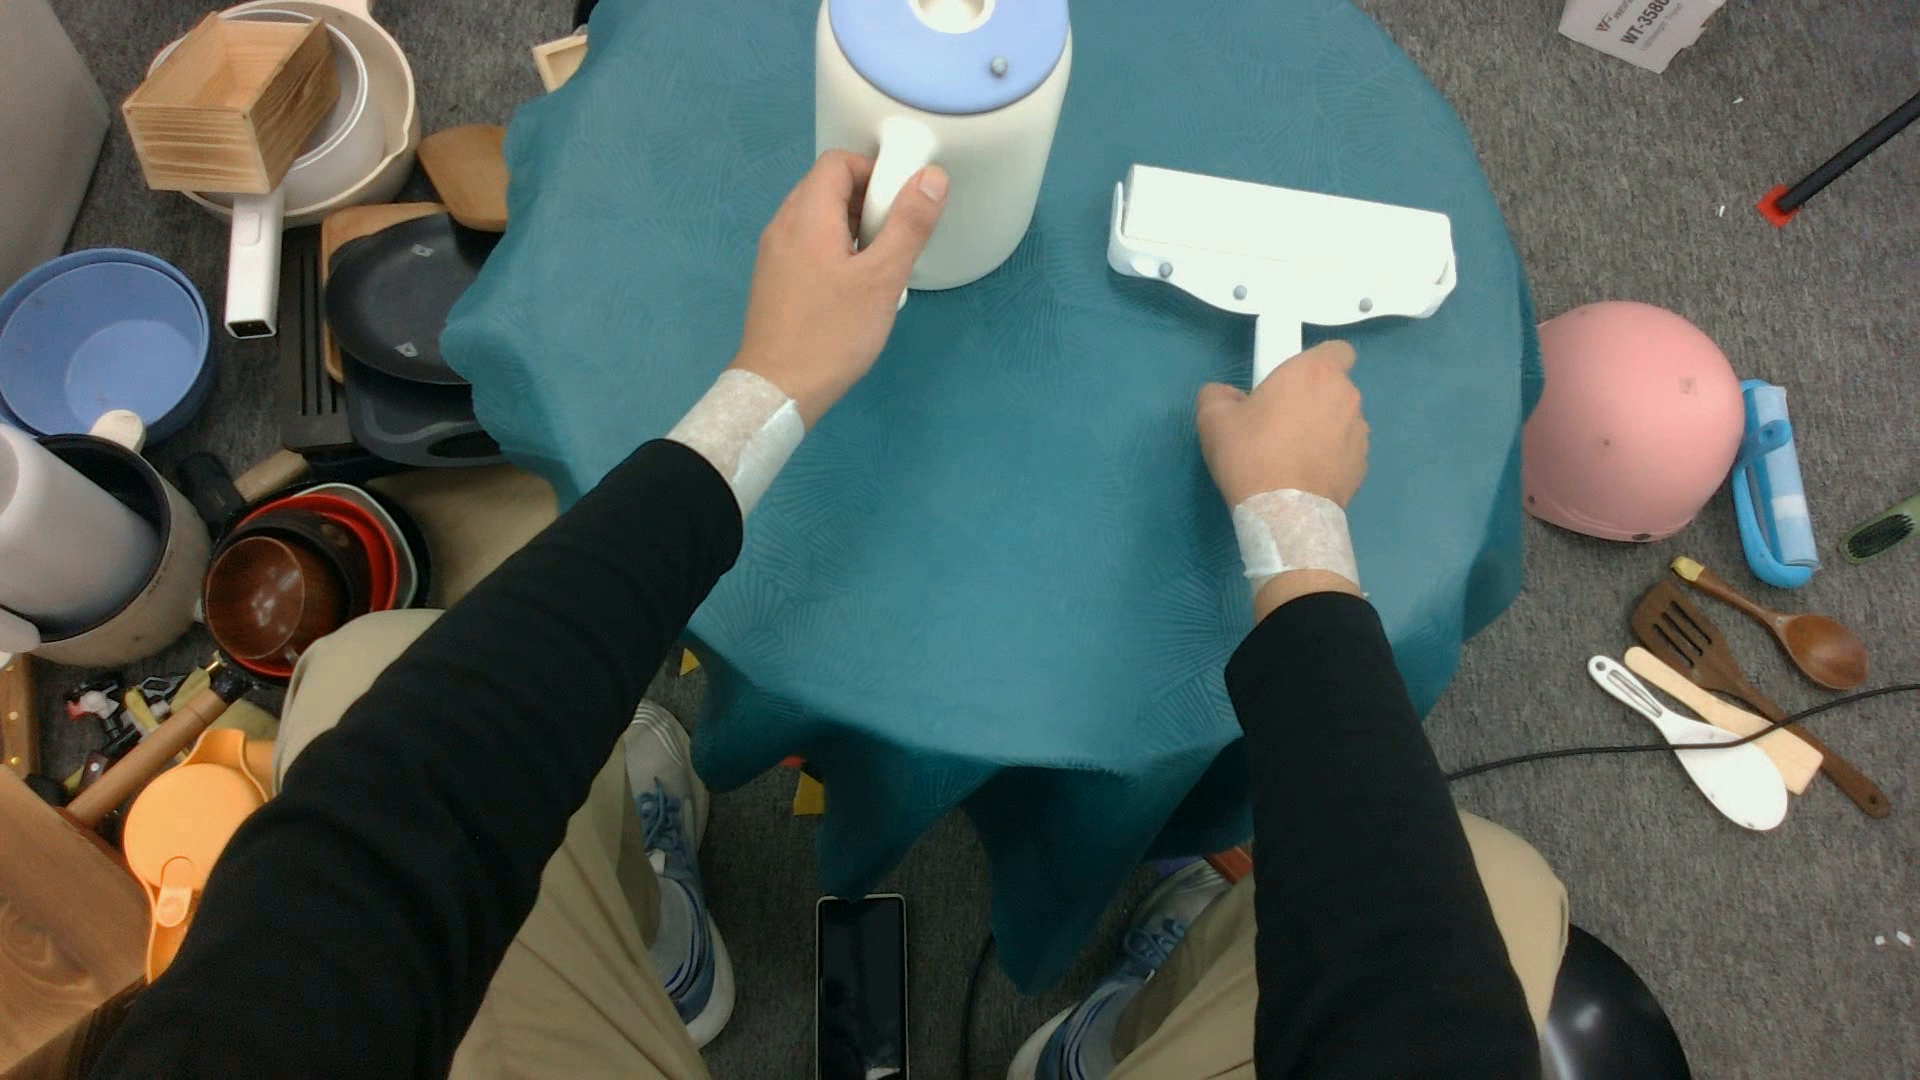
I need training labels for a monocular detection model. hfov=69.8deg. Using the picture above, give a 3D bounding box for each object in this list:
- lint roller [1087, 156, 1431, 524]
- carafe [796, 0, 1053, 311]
[{"bbox_3d":[0.172,-0.115,0.785,0.203,0.048,0.226,7,62,-5],"label":"lint roller"},{"bbox_3d":[-0.030,-0.219,0.744,0.132,0.182,0.191,15,73,-1],"label":"carafe"}]
